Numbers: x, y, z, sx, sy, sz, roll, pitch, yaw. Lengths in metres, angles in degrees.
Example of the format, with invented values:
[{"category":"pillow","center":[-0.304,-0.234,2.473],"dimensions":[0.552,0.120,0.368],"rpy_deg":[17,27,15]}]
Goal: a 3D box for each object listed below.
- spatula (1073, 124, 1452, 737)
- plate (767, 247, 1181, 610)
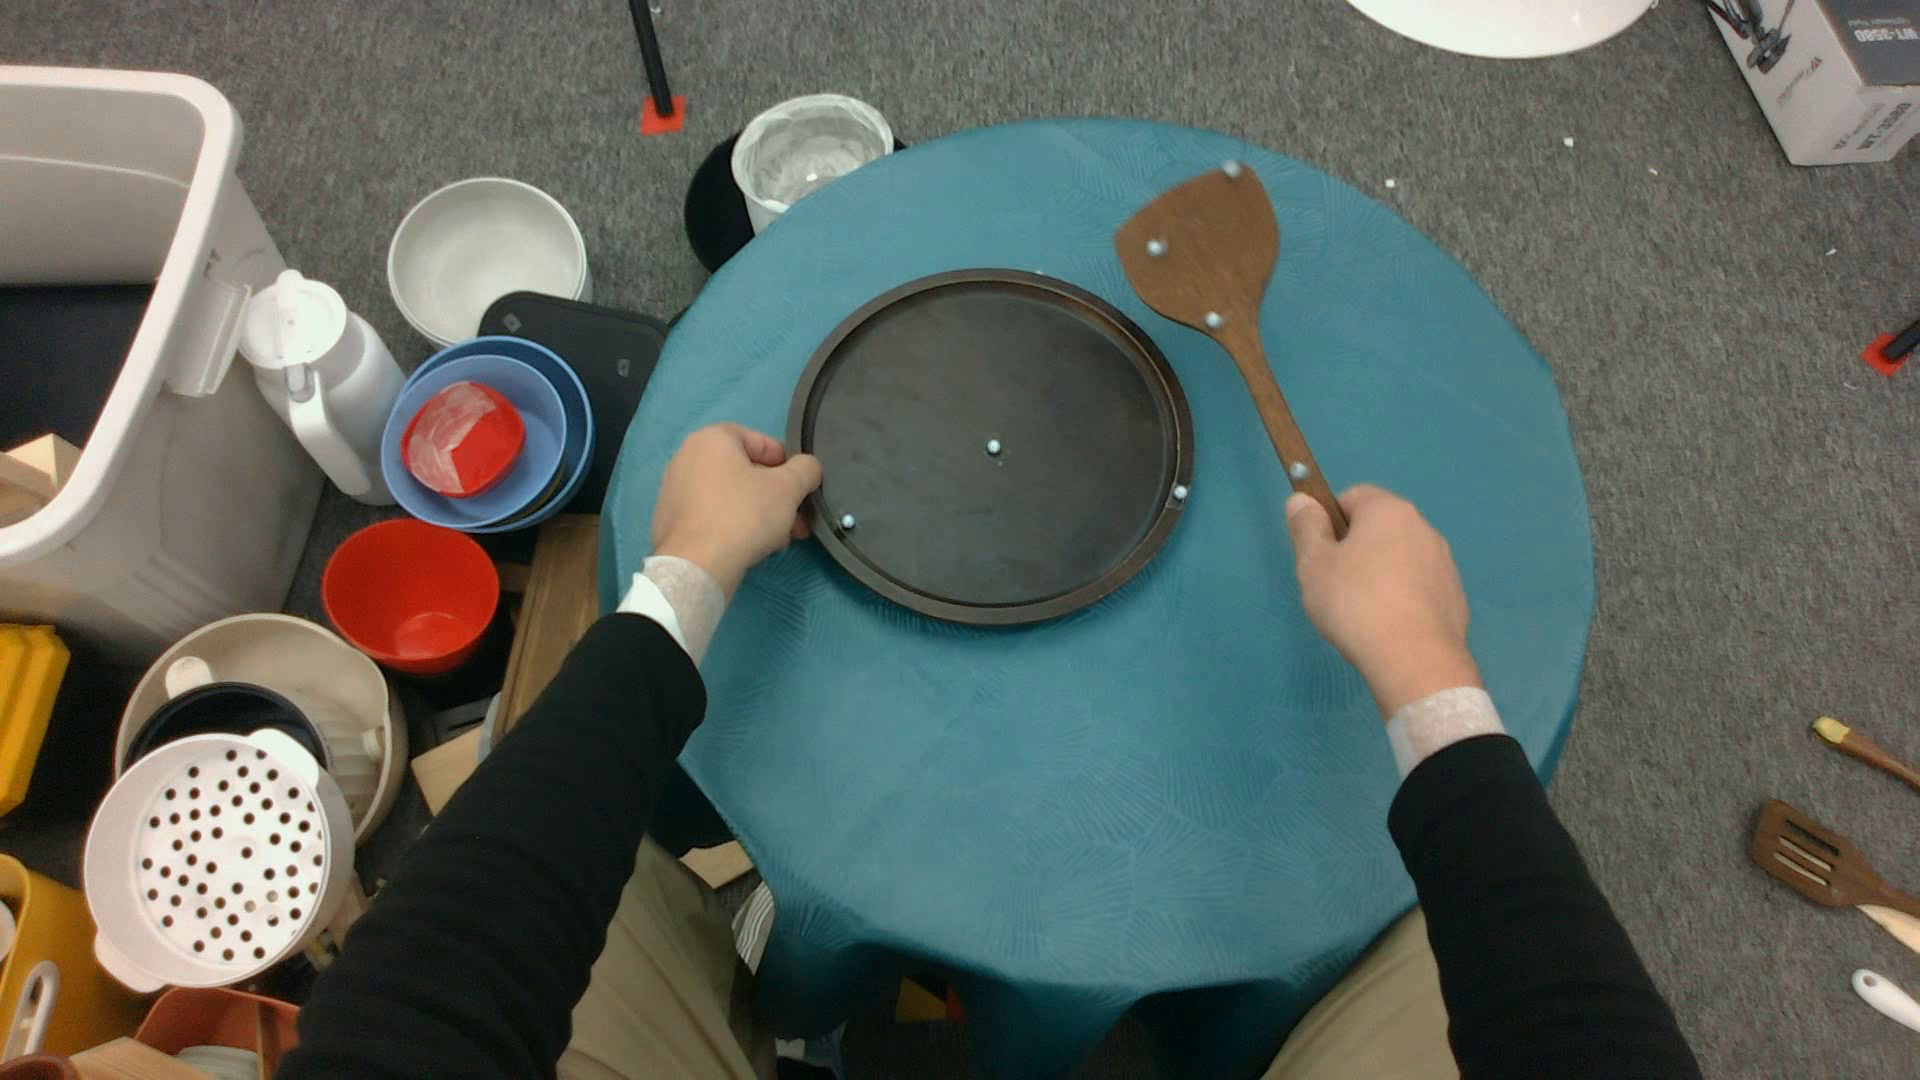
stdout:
[{"category":"spatula","center":[0.167,-0.068,0.752],"dimensions":[0.096,0.016,0.387],"rpy_deg":[-33,63,22]},{"category":"plate","center":[0.008,-0.073,0.848],"dimensions":[0.255,0.029,0.255],"rpy_deg":[2,65,-3]}]
